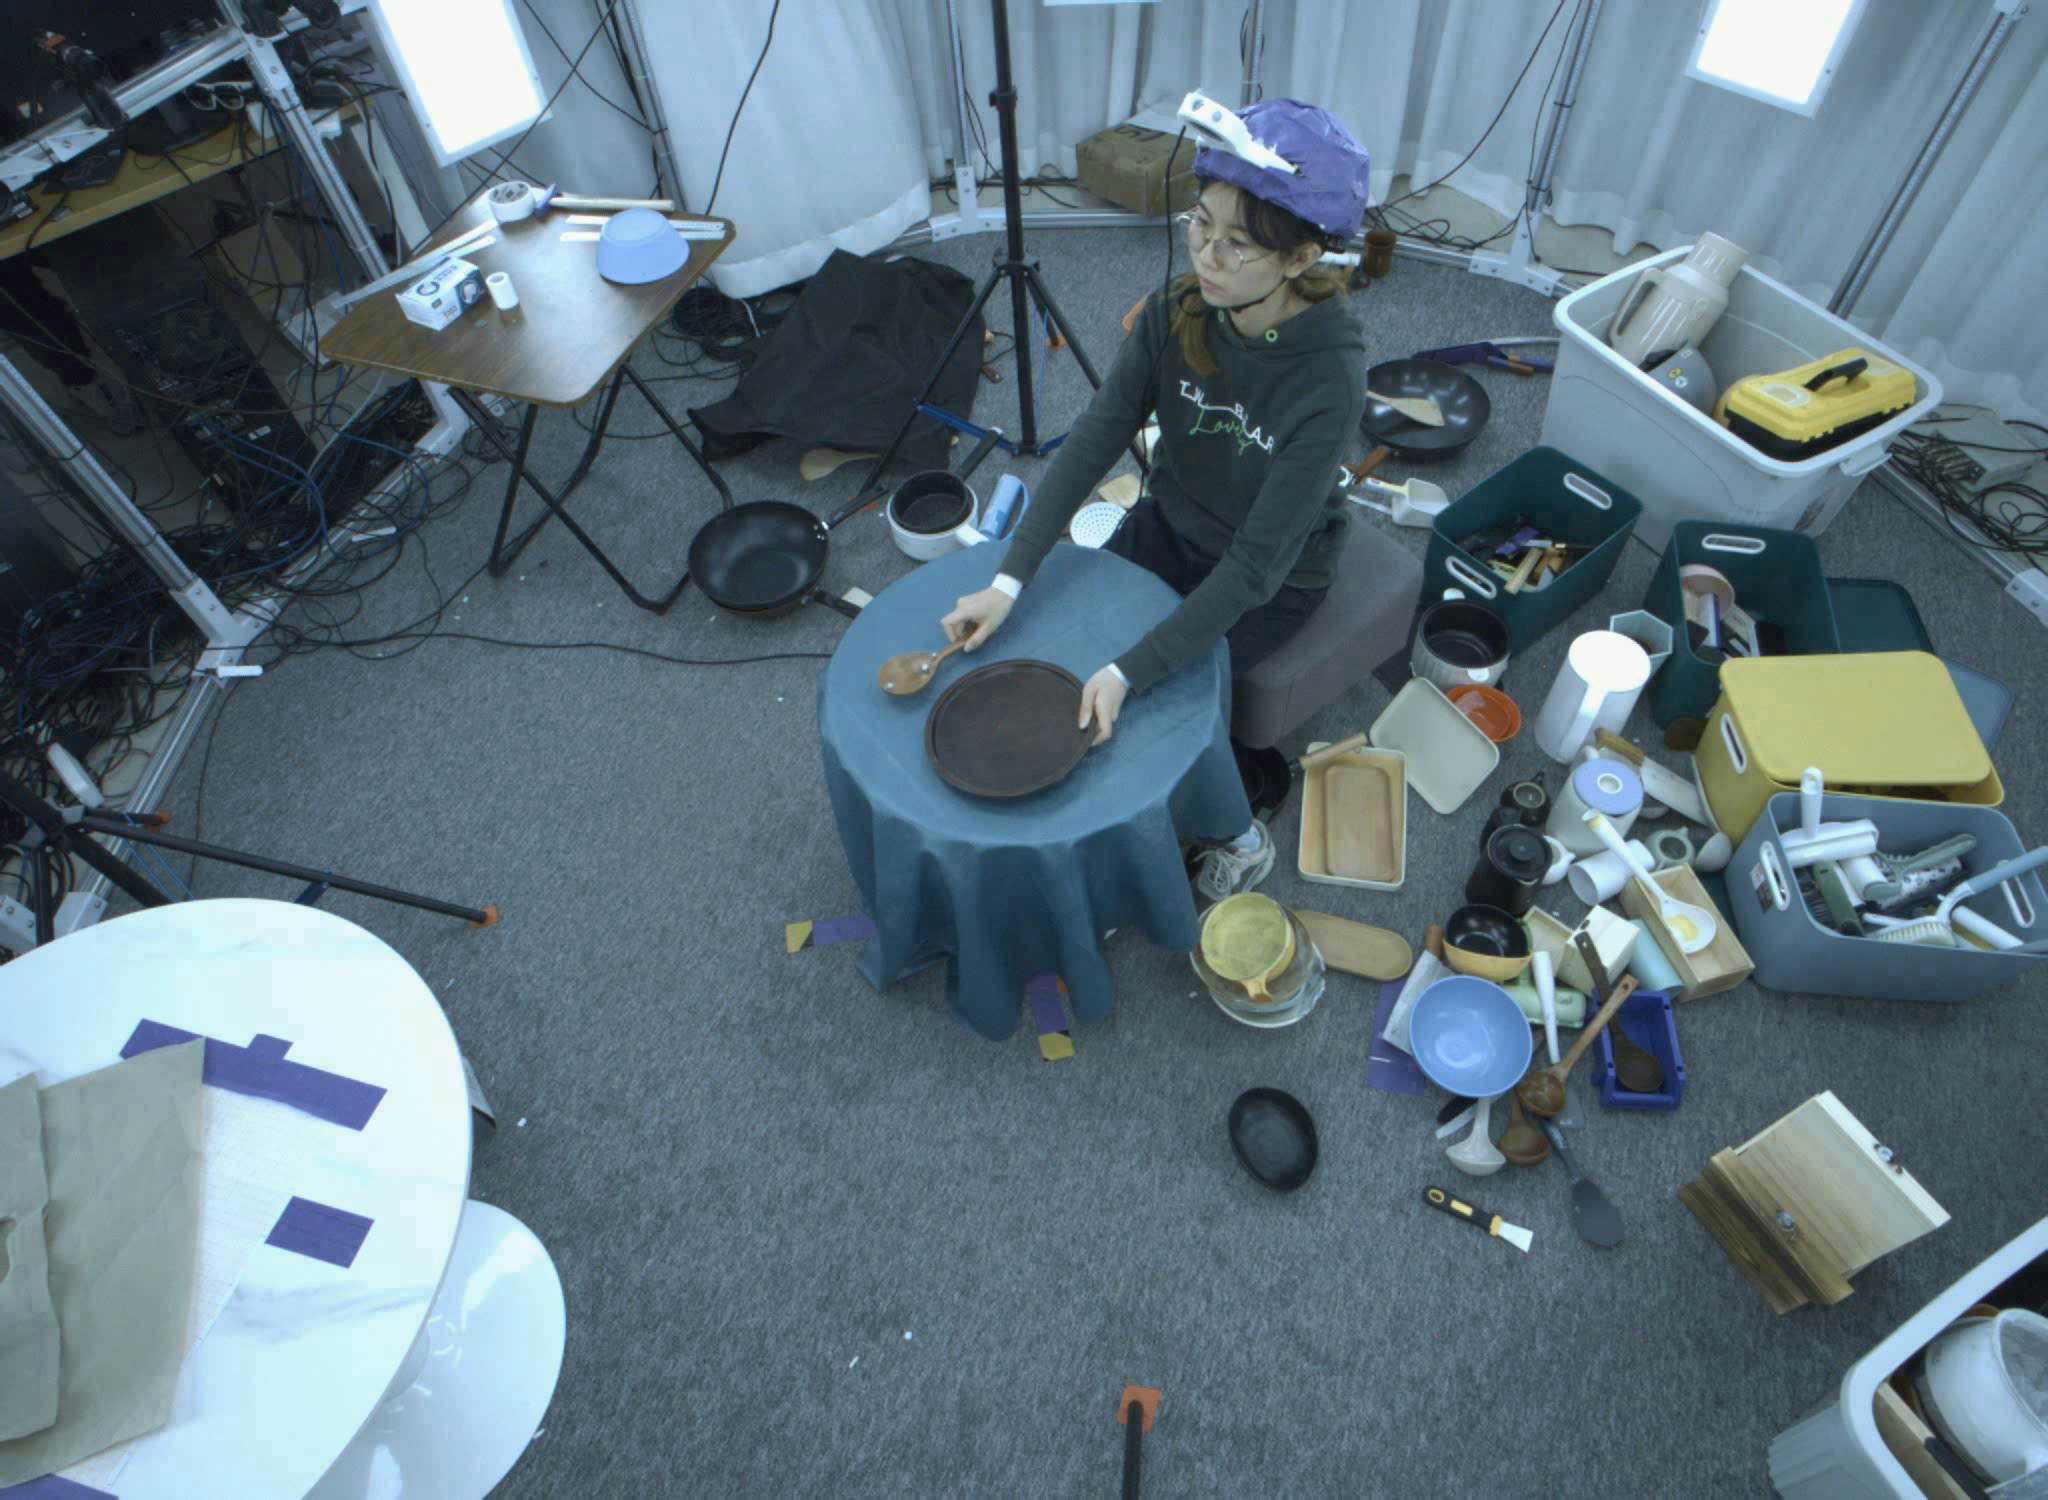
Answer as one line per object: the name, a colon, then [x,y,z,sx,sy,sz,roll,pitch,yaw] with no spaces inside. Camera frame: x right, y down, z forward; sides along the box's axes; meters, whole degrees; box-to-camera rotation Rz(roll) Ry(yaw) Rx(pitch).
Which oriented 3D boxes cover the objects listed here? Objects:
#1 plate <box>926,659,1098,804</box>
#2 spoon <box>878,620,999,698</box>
plate: [-0.017,-0.026,1.788,0.253,0.029,0.252,-4,55,7]
spoon: [-0.127,-0.141,1.871,0.218,0.017,0.074,-33,63,-23]
